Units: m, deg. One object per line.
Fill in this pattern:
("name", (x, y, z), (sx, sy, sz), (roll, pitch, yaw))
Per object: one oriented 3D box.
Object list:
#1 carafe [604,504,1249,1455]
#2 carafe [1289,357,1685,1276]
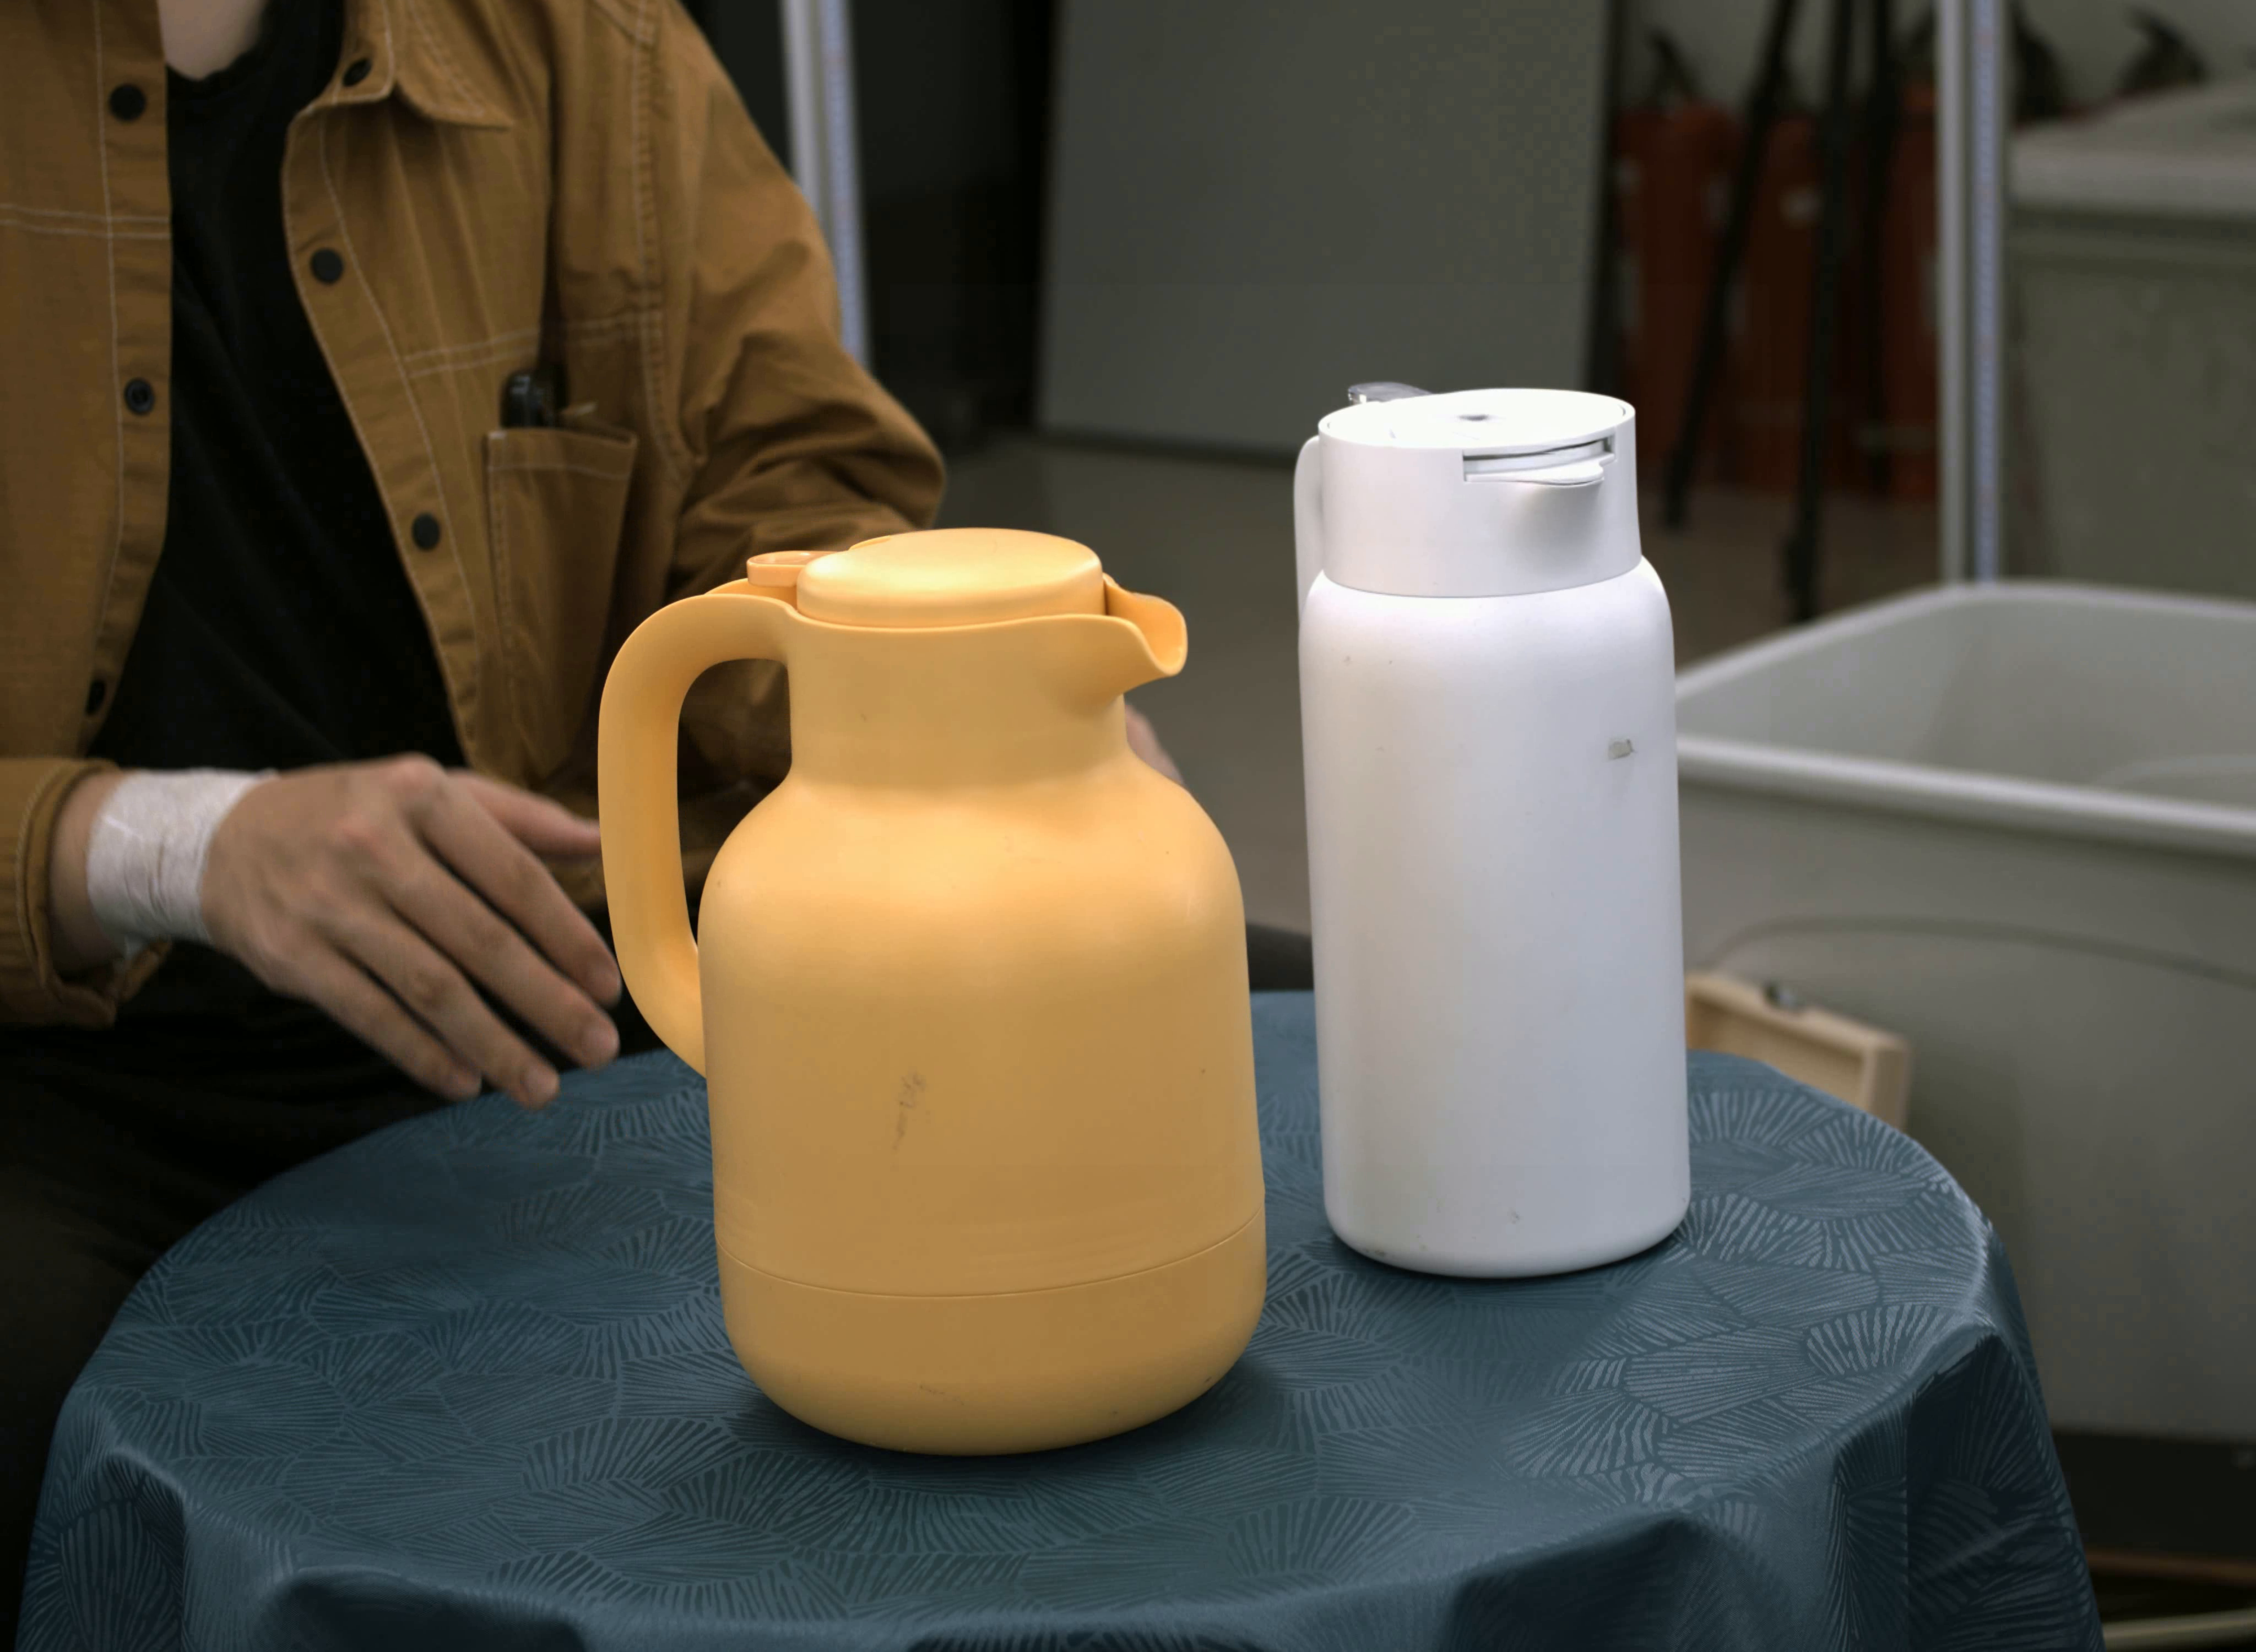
("carafe", (-0.062, 0.038, 1.576), (0.203, 0.263, 0.160), (6, 14, 32))
("carafe", (0.103, -0.006, 1.694), (0.121, 0.272, 0.174), (-12, 15, -22))
